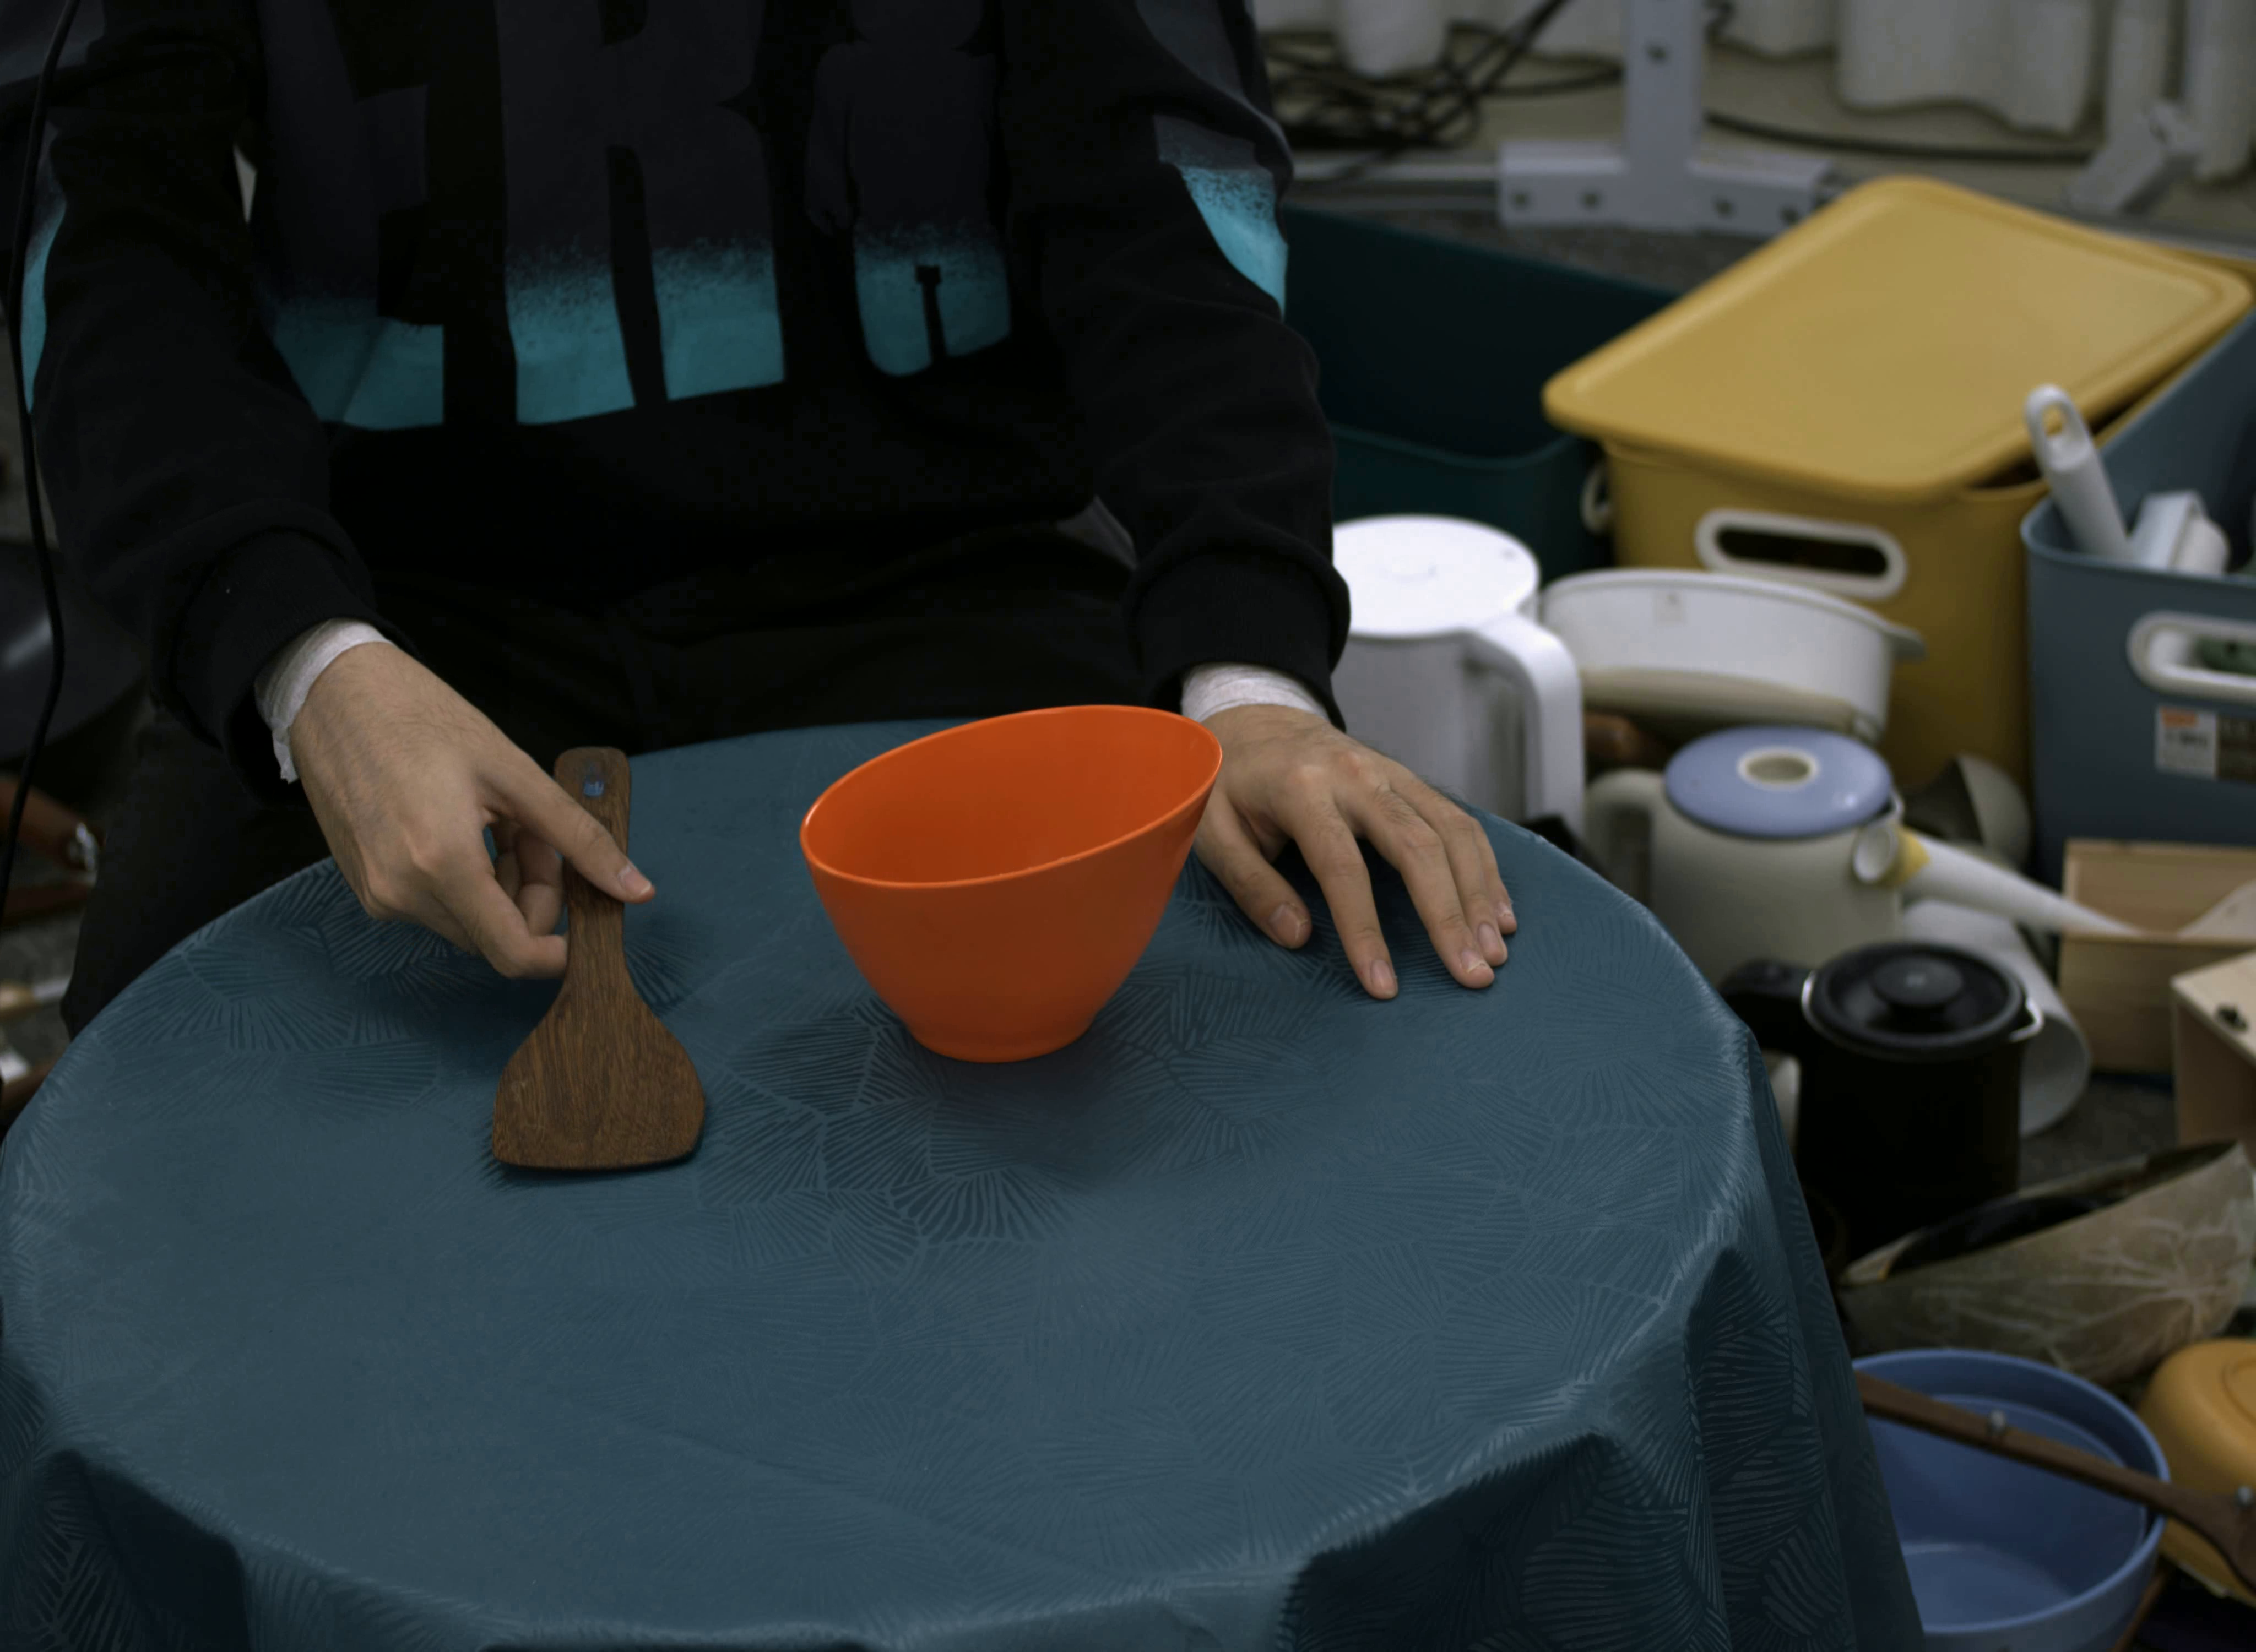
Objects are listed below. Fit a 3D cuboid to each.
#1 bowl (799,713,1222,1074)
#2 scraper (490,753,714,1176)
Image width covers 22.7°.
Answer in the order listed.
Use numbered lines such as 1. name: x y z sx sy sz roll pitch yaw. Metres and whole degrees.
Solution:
1. bowl: -0.038 0.027 1.942 0.147 0.103 0.150 -4 26 2
2. scraper: -0.185 0.047 1.963 0.075 0.010 0.215 -1 42 -5
